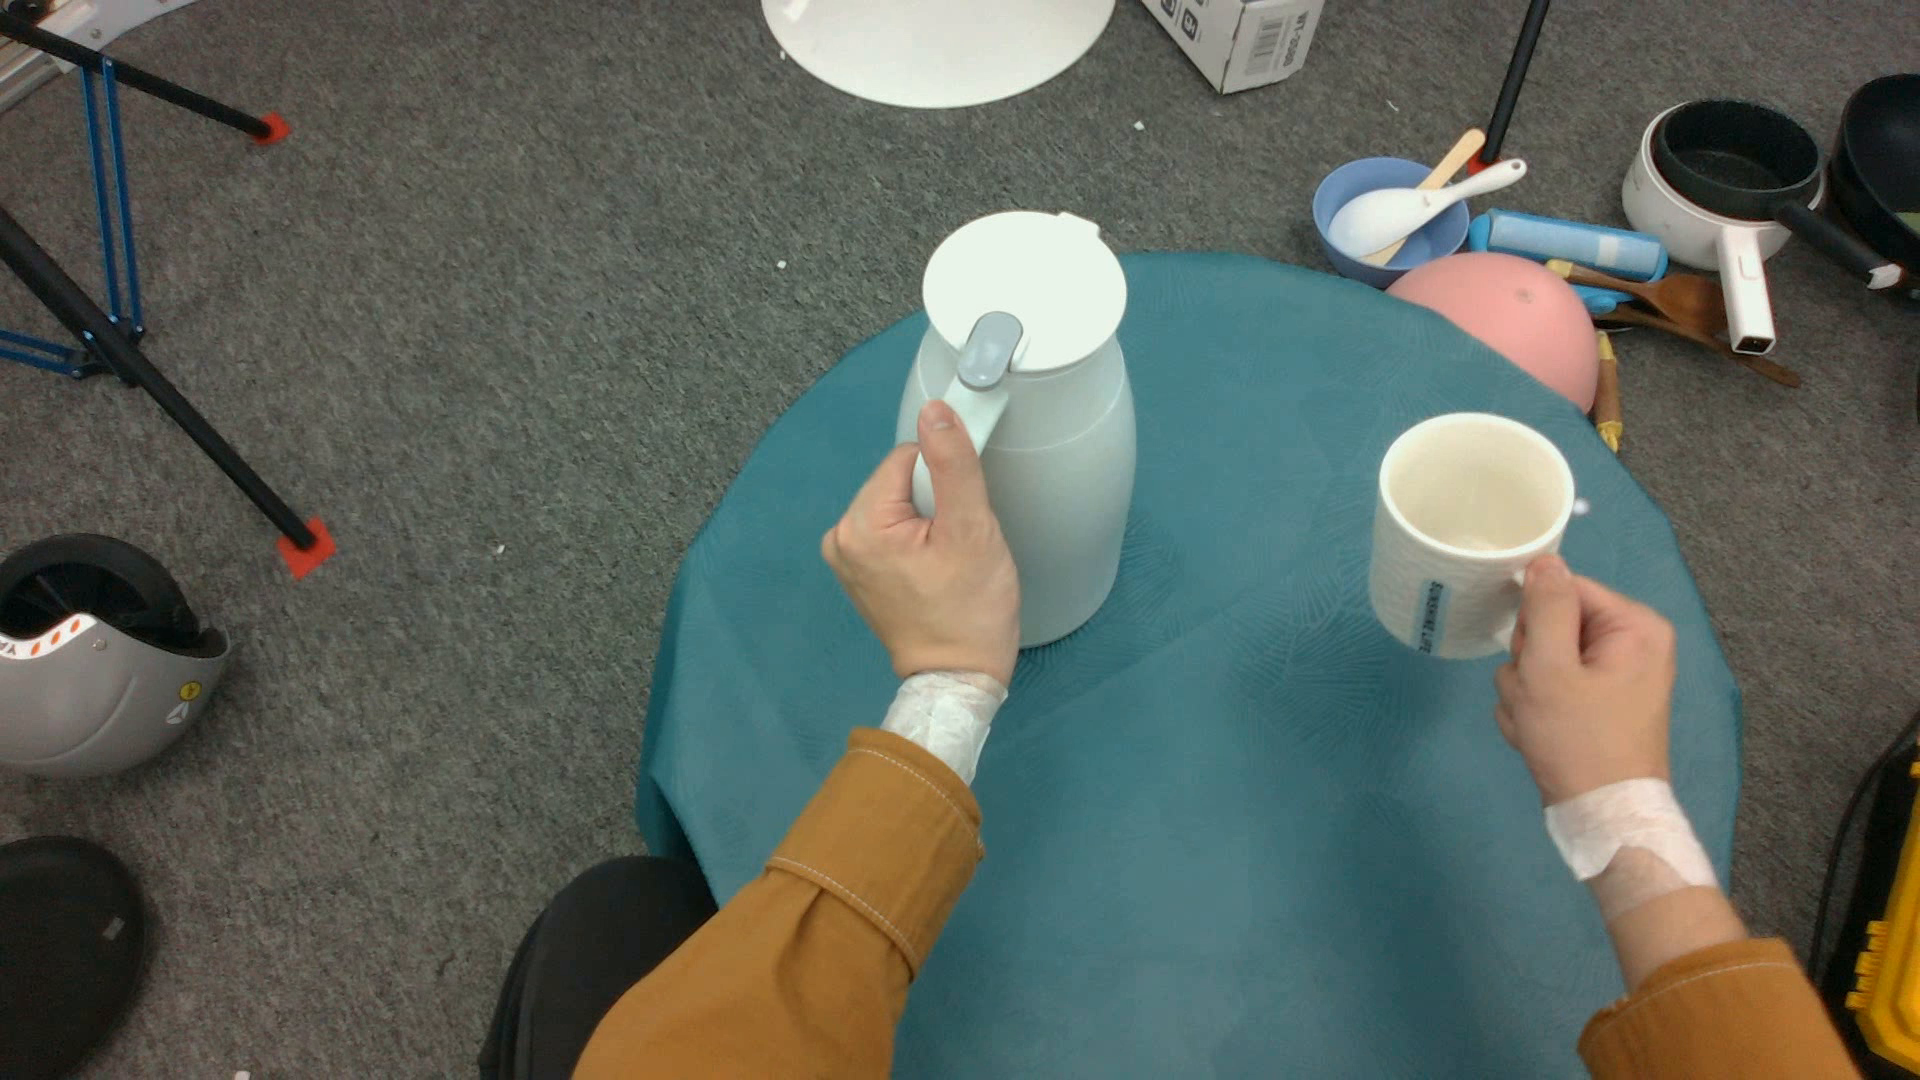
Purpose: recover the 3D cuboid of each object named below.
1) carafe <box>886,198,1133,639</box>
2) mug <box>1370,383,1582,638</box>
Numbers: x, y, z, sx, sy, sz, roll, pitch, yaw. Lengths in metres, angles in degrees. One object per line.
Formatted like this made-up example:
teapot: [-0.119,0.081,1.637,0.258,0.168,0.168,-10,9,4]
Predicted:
carafe: [0.019,-0.046,0.705,0.132,0.247,0.168,25,62,11]
mug: [0.255,-0.002,0.672,0.085,0.101,0.118,-28,54,-6]
